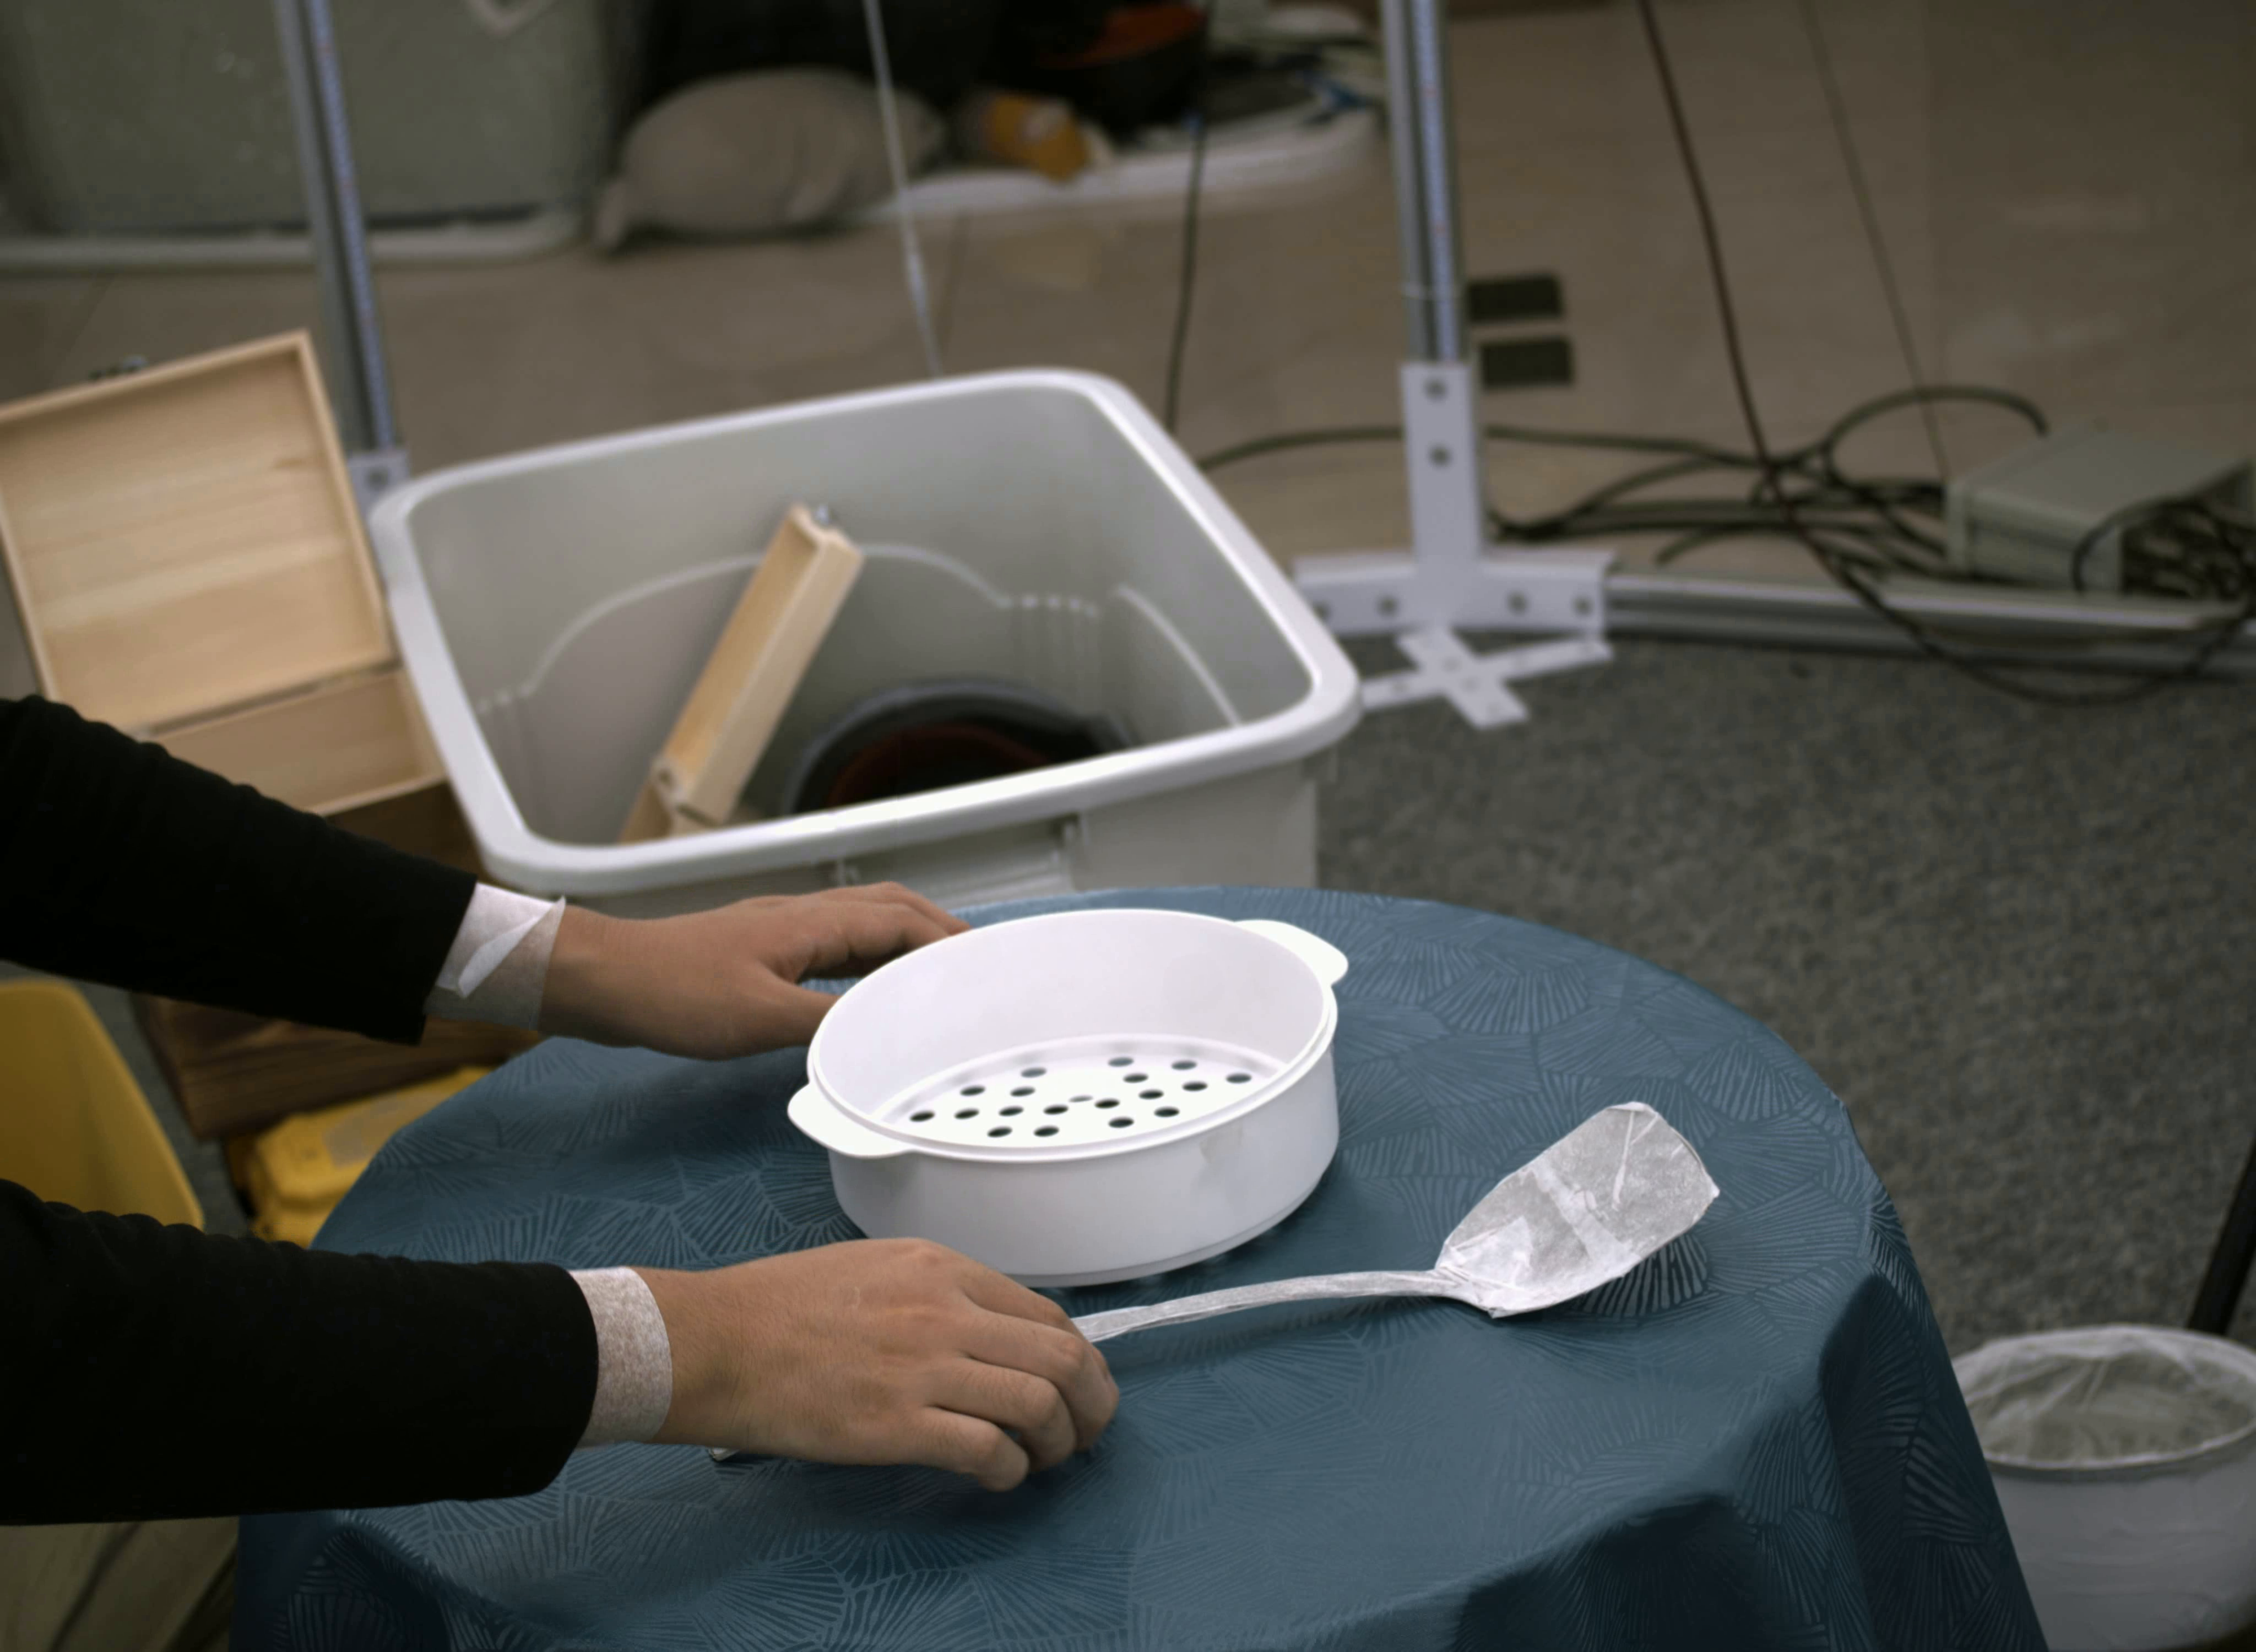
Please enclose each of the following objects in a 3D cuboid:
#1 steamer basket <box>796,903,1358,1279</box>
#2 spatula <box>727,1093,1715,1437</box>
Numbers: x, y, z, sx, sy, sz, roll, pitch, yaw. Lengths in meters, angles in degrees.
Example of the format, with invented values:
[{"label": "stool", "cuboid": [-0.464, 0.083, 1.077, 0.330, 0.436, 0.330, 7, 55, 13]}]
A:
[{"label": "steamer basket", "cuboid": [-0.014, 0.101, 2.149, 0.229, 0.070, 0.200, -21, 28, -26]}, {"label": "spatula", "cuboid": [0.033, 0.166, 2.035, 0.364, 0.045, 0.097, -11, 28, -10]}]
